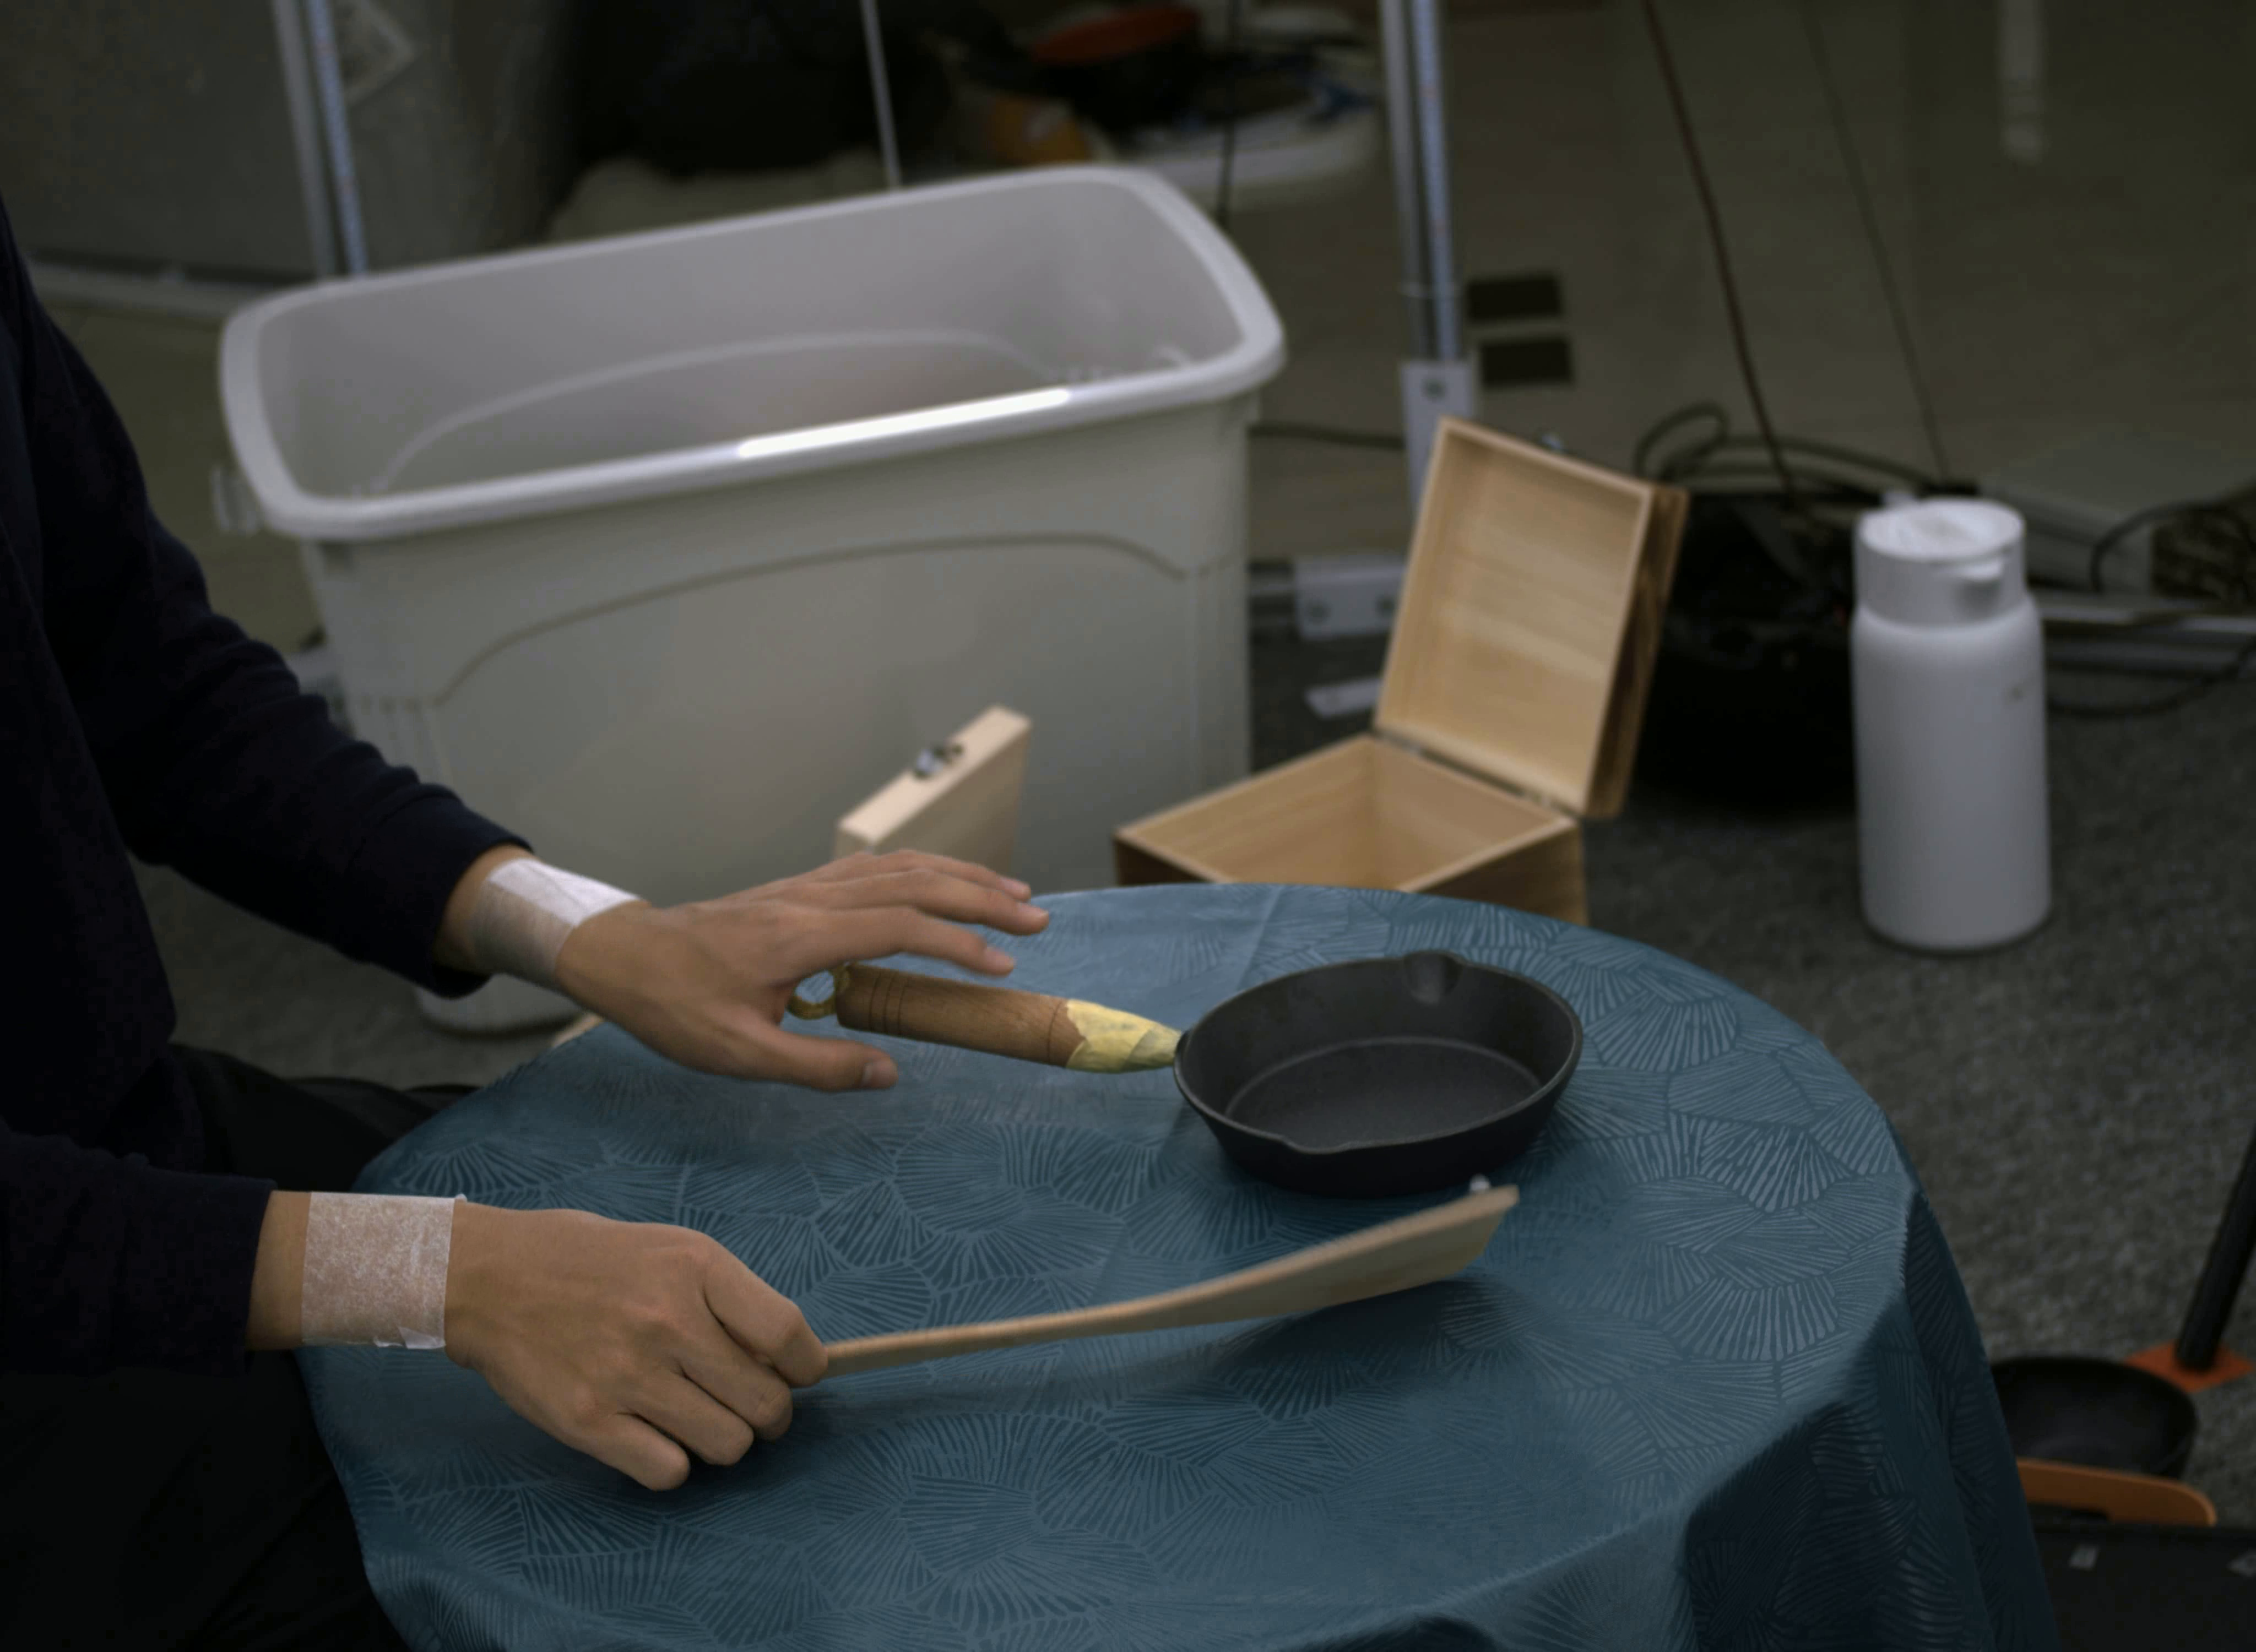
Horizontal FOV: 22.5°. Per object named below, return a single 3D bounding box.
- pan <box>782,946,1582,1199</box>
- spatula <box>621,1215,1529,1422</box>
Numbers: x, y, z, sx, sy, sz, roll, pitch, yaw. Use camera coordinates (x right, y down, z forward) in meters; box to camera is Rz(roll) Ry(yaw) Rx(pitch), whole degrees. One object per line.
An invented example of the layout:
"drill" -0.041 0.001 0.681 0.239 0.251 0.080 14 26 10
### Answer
"pan" 0.017 0.085 2.197 0.323 0.050 0.166 5 28 21
"spatula" -0.019 0.178 2.019 0.327 0.016 0.080 -9 -13 -3
